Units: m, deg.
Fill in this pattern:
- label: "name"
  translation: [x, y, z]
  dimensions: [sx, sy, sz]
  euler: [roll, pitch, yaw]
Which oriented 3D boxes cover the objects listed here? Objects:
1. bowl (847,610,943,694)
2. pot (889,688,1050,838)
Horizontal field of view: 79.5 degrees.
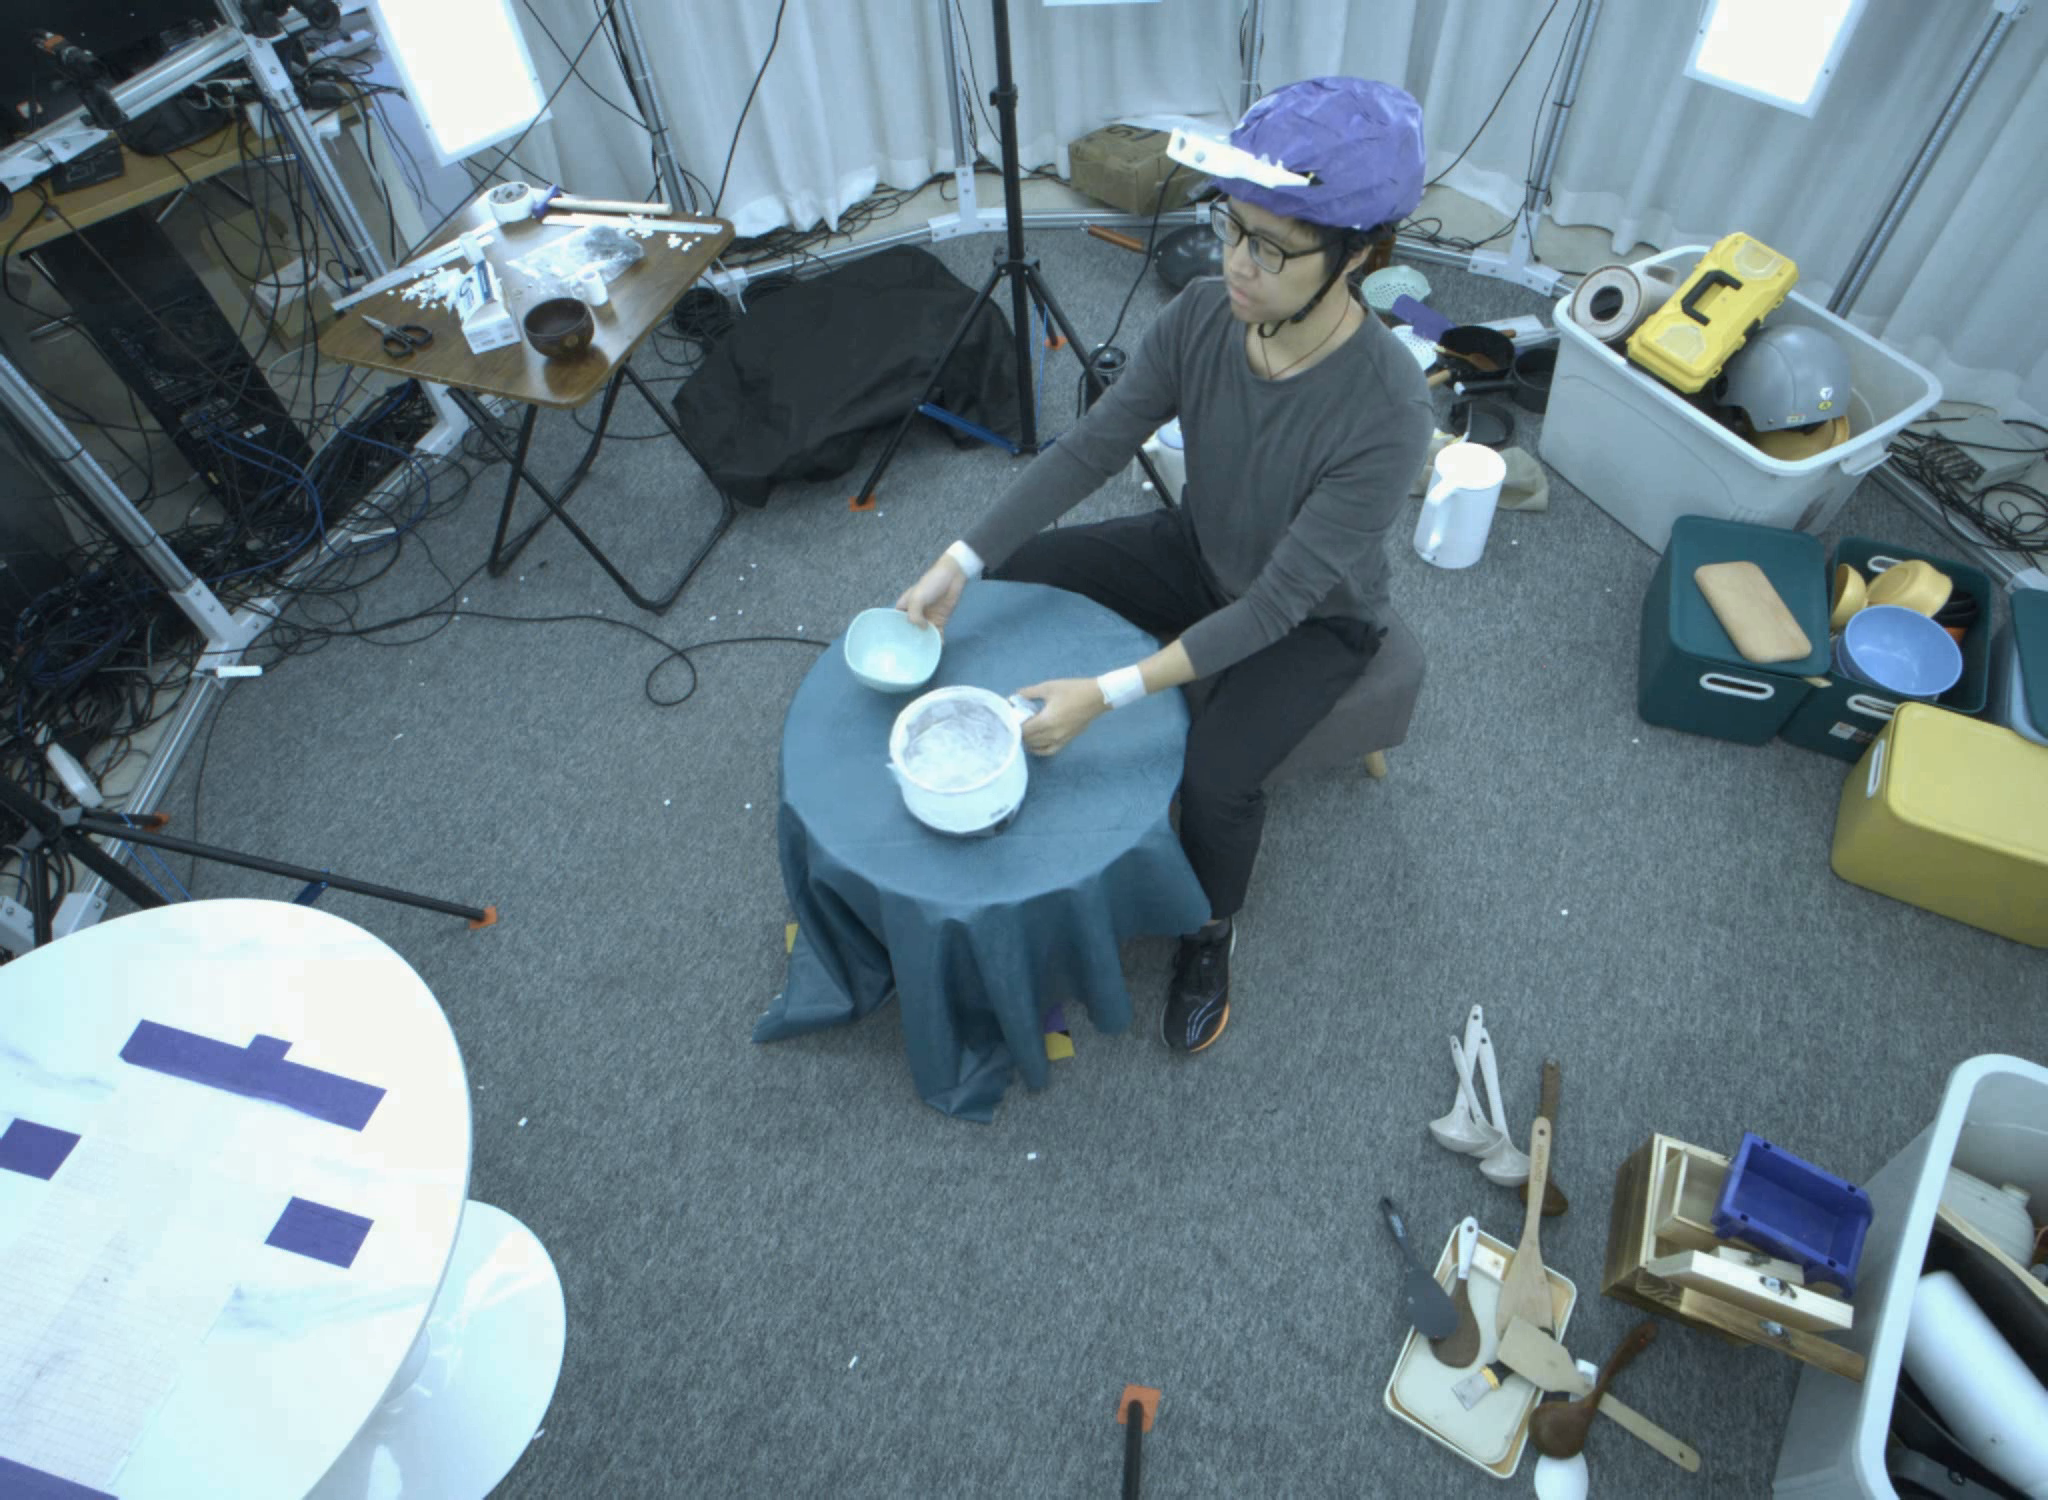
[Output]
- label: "bowl"
  translation: [-0.194, -0.135, 1.816]
  dimensions: [0.153, 0.059, 0.150]
  euler: [7, 57, -10]
- label: "pot"
  translation: [-0.066, 0.008, 1.706]
  dimensions: [0.235, 0.138, 0.175]
  euler: [-34, 60, -20]
